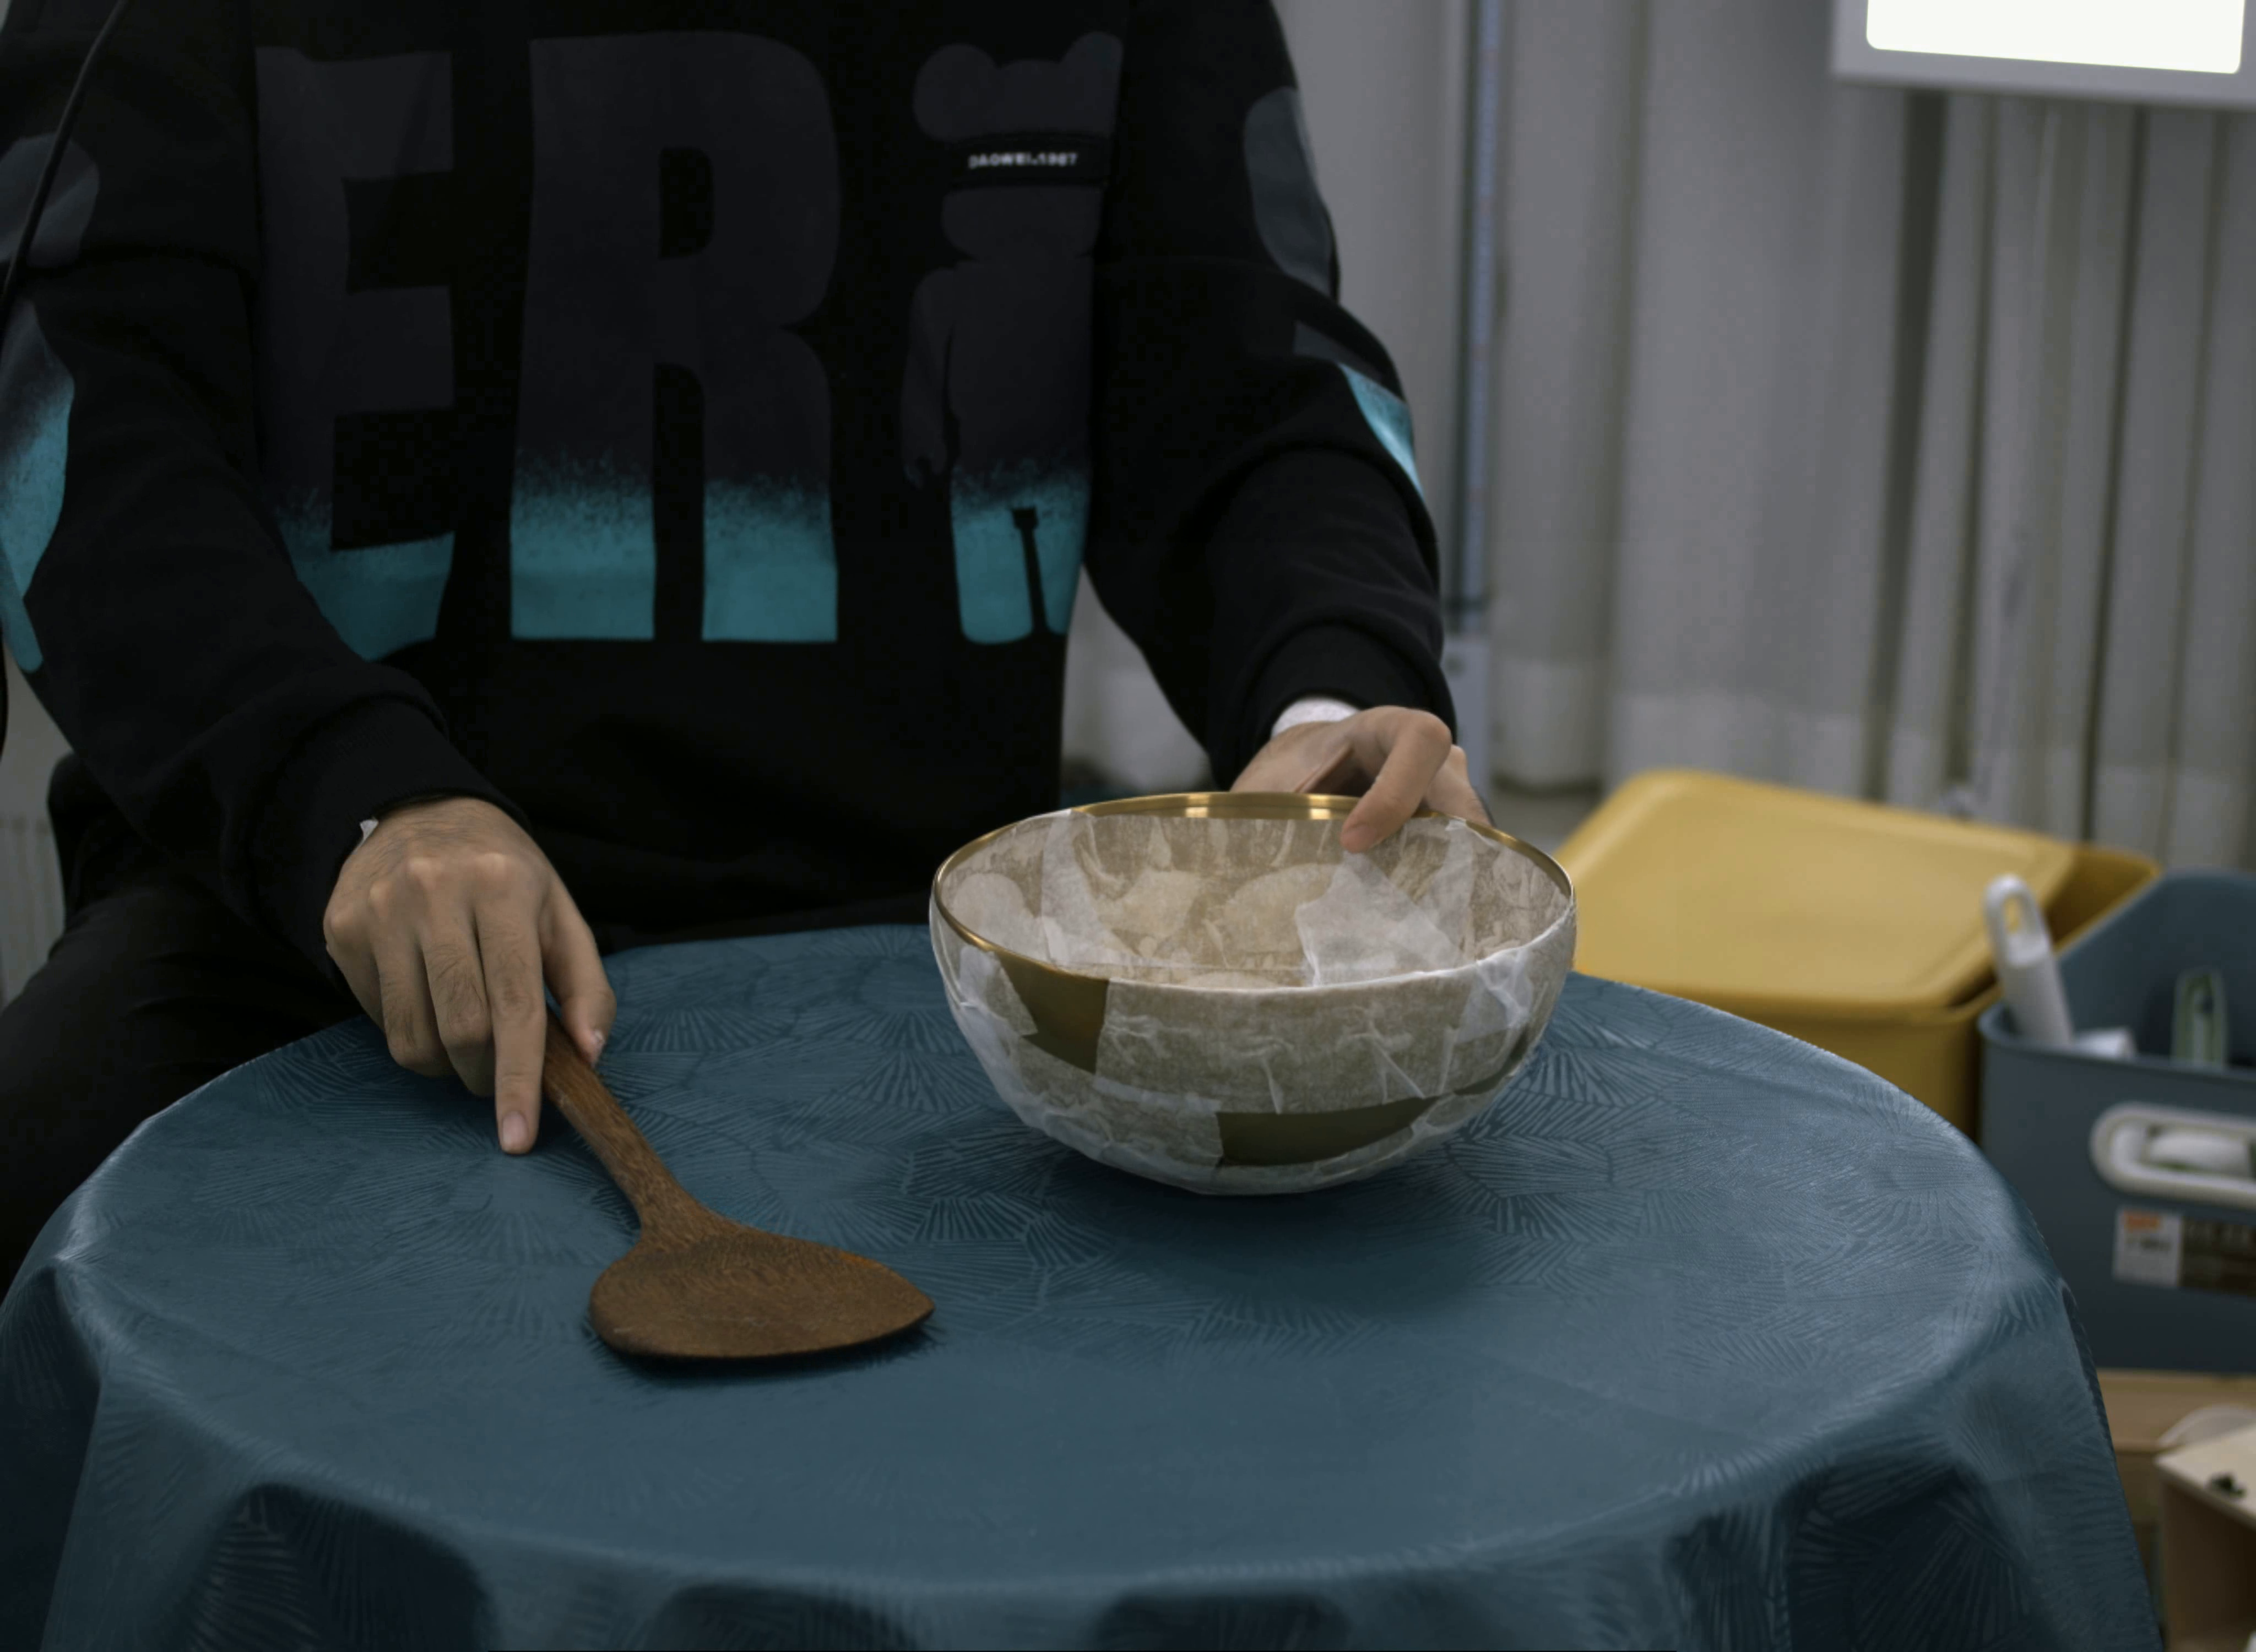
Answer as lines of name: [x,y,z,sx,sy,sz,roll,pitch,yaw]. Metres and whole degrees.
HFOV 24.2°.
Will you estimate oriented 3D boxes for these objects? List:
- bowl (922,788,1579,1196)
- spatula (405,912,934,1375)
bowl: [0.040,0.059,1.644,0.214,0.095,0.213,-1,17,1]
spatula: [-0.165,0.091,1.640,0.096,0.016,0.381,-5,21,-22]
